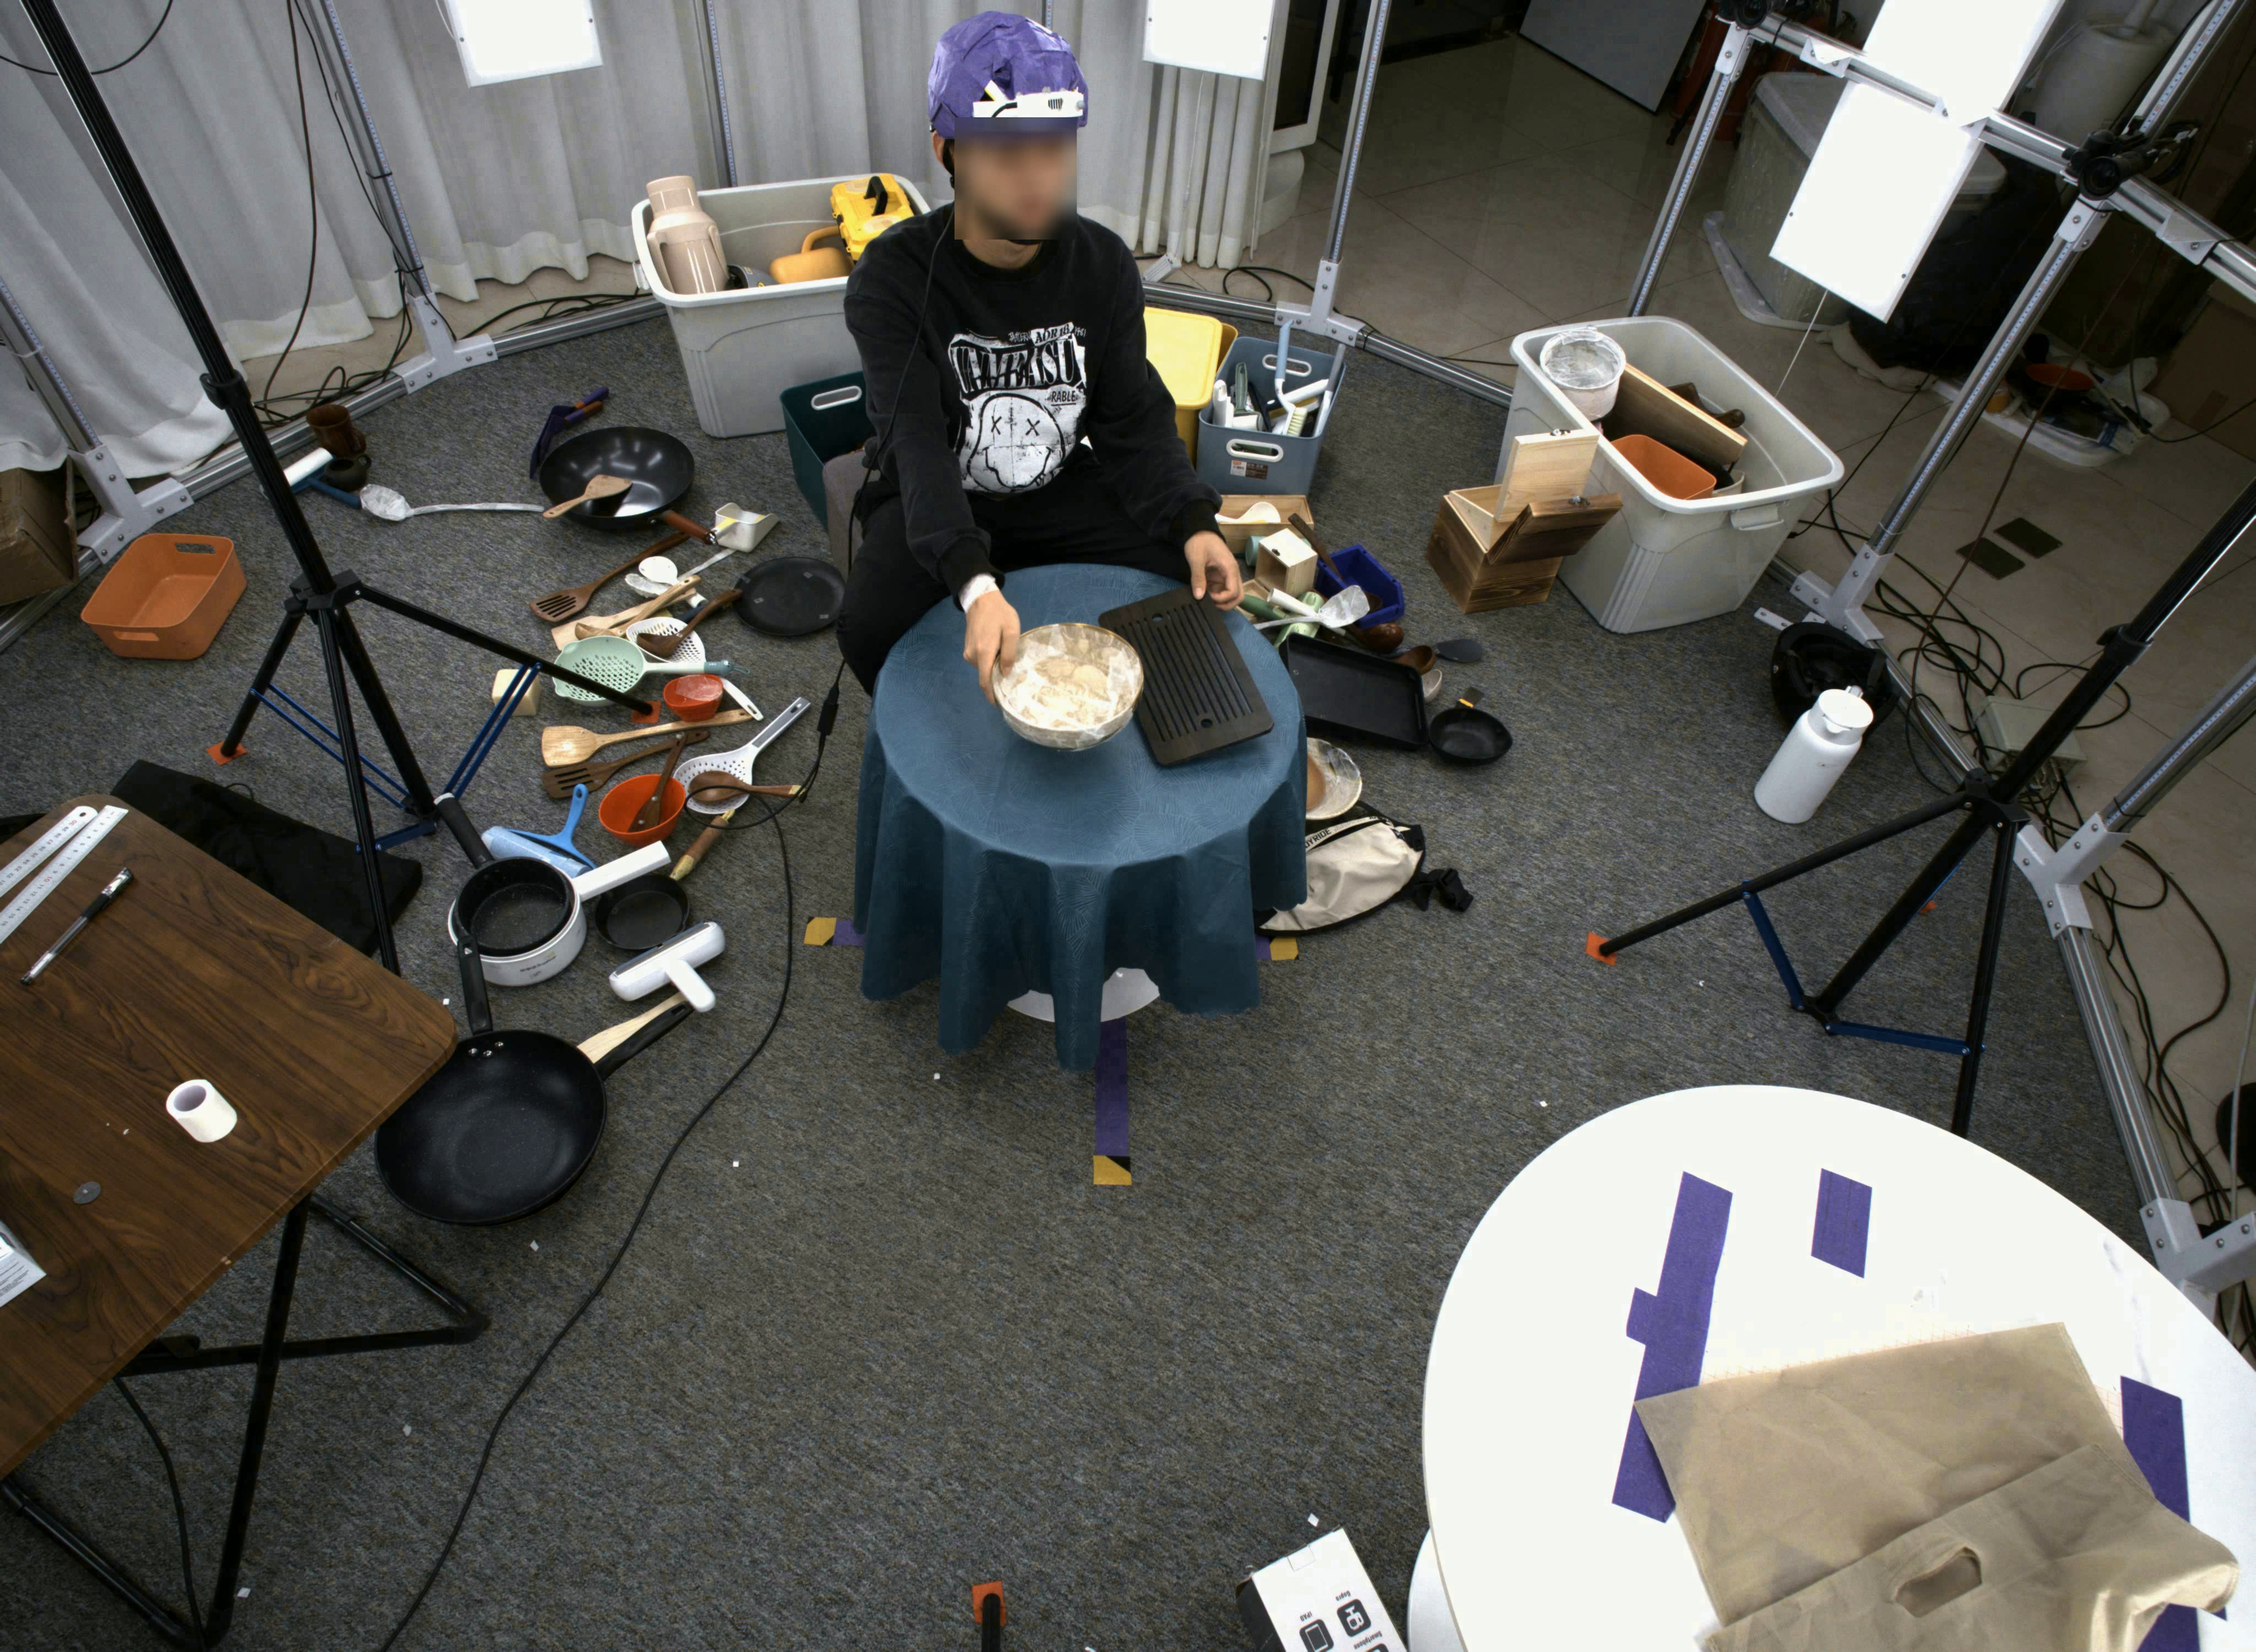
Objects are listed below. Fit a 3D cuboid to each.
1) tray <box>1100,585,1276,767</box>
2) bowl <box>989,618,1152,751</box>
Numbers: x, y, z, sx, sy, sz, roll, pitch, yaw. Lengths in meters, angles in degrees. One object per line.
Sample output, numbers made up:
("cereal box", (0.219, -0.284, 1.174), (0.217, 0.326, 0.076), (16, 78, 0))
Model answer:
("tray", (0.082, -0.220, 1.844), (0.170, 0.018, 0.313), (-18, 53, -4))
("bowl", (-0.076, -0.173, 1.715), (0.214, 0.092, 0.220), (-1, 50, 1))
